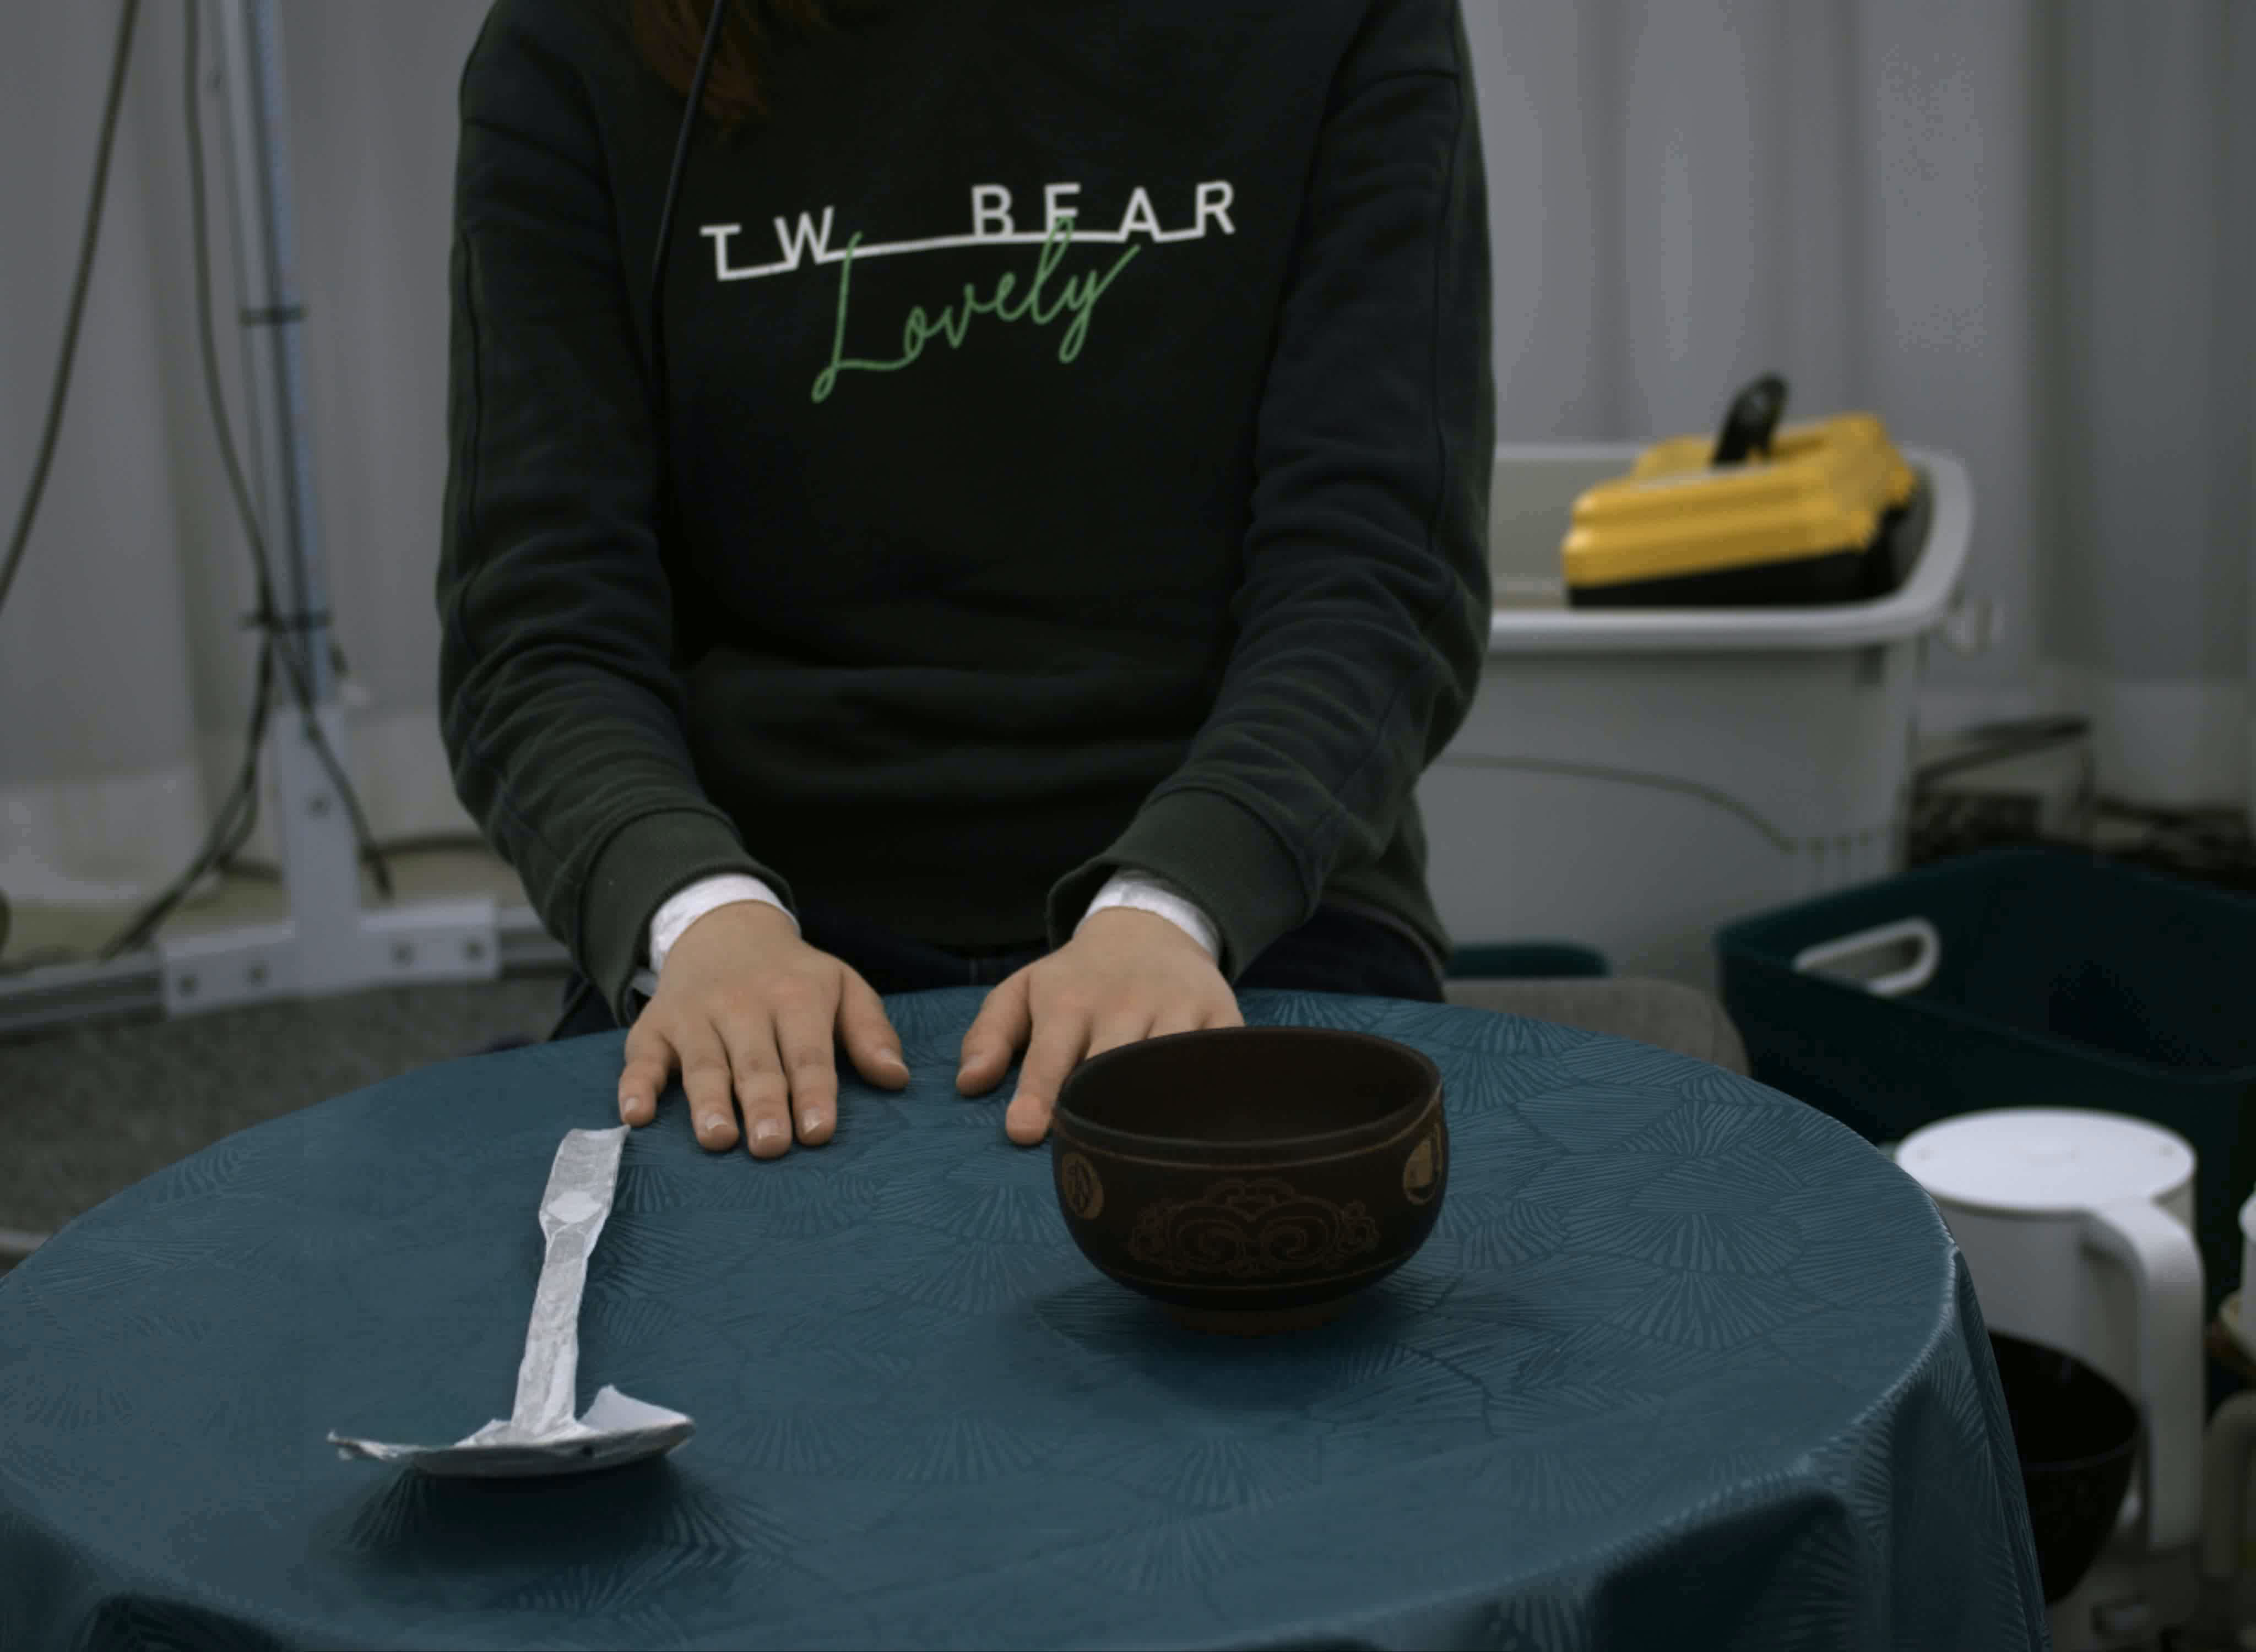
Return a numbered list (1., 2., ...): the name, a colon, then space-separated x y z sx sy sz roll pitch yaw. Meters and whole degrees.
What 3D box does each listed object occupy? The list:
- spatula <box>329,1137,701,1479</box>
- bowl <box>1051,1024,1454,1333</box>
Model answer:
1. spatula: -0.163 0.132 1.605 0.098 0.044 0.367 -5 15 1
2. bowl: 0.037 0.107 1.600 0.117 0.069 0.119 -1 14 0
